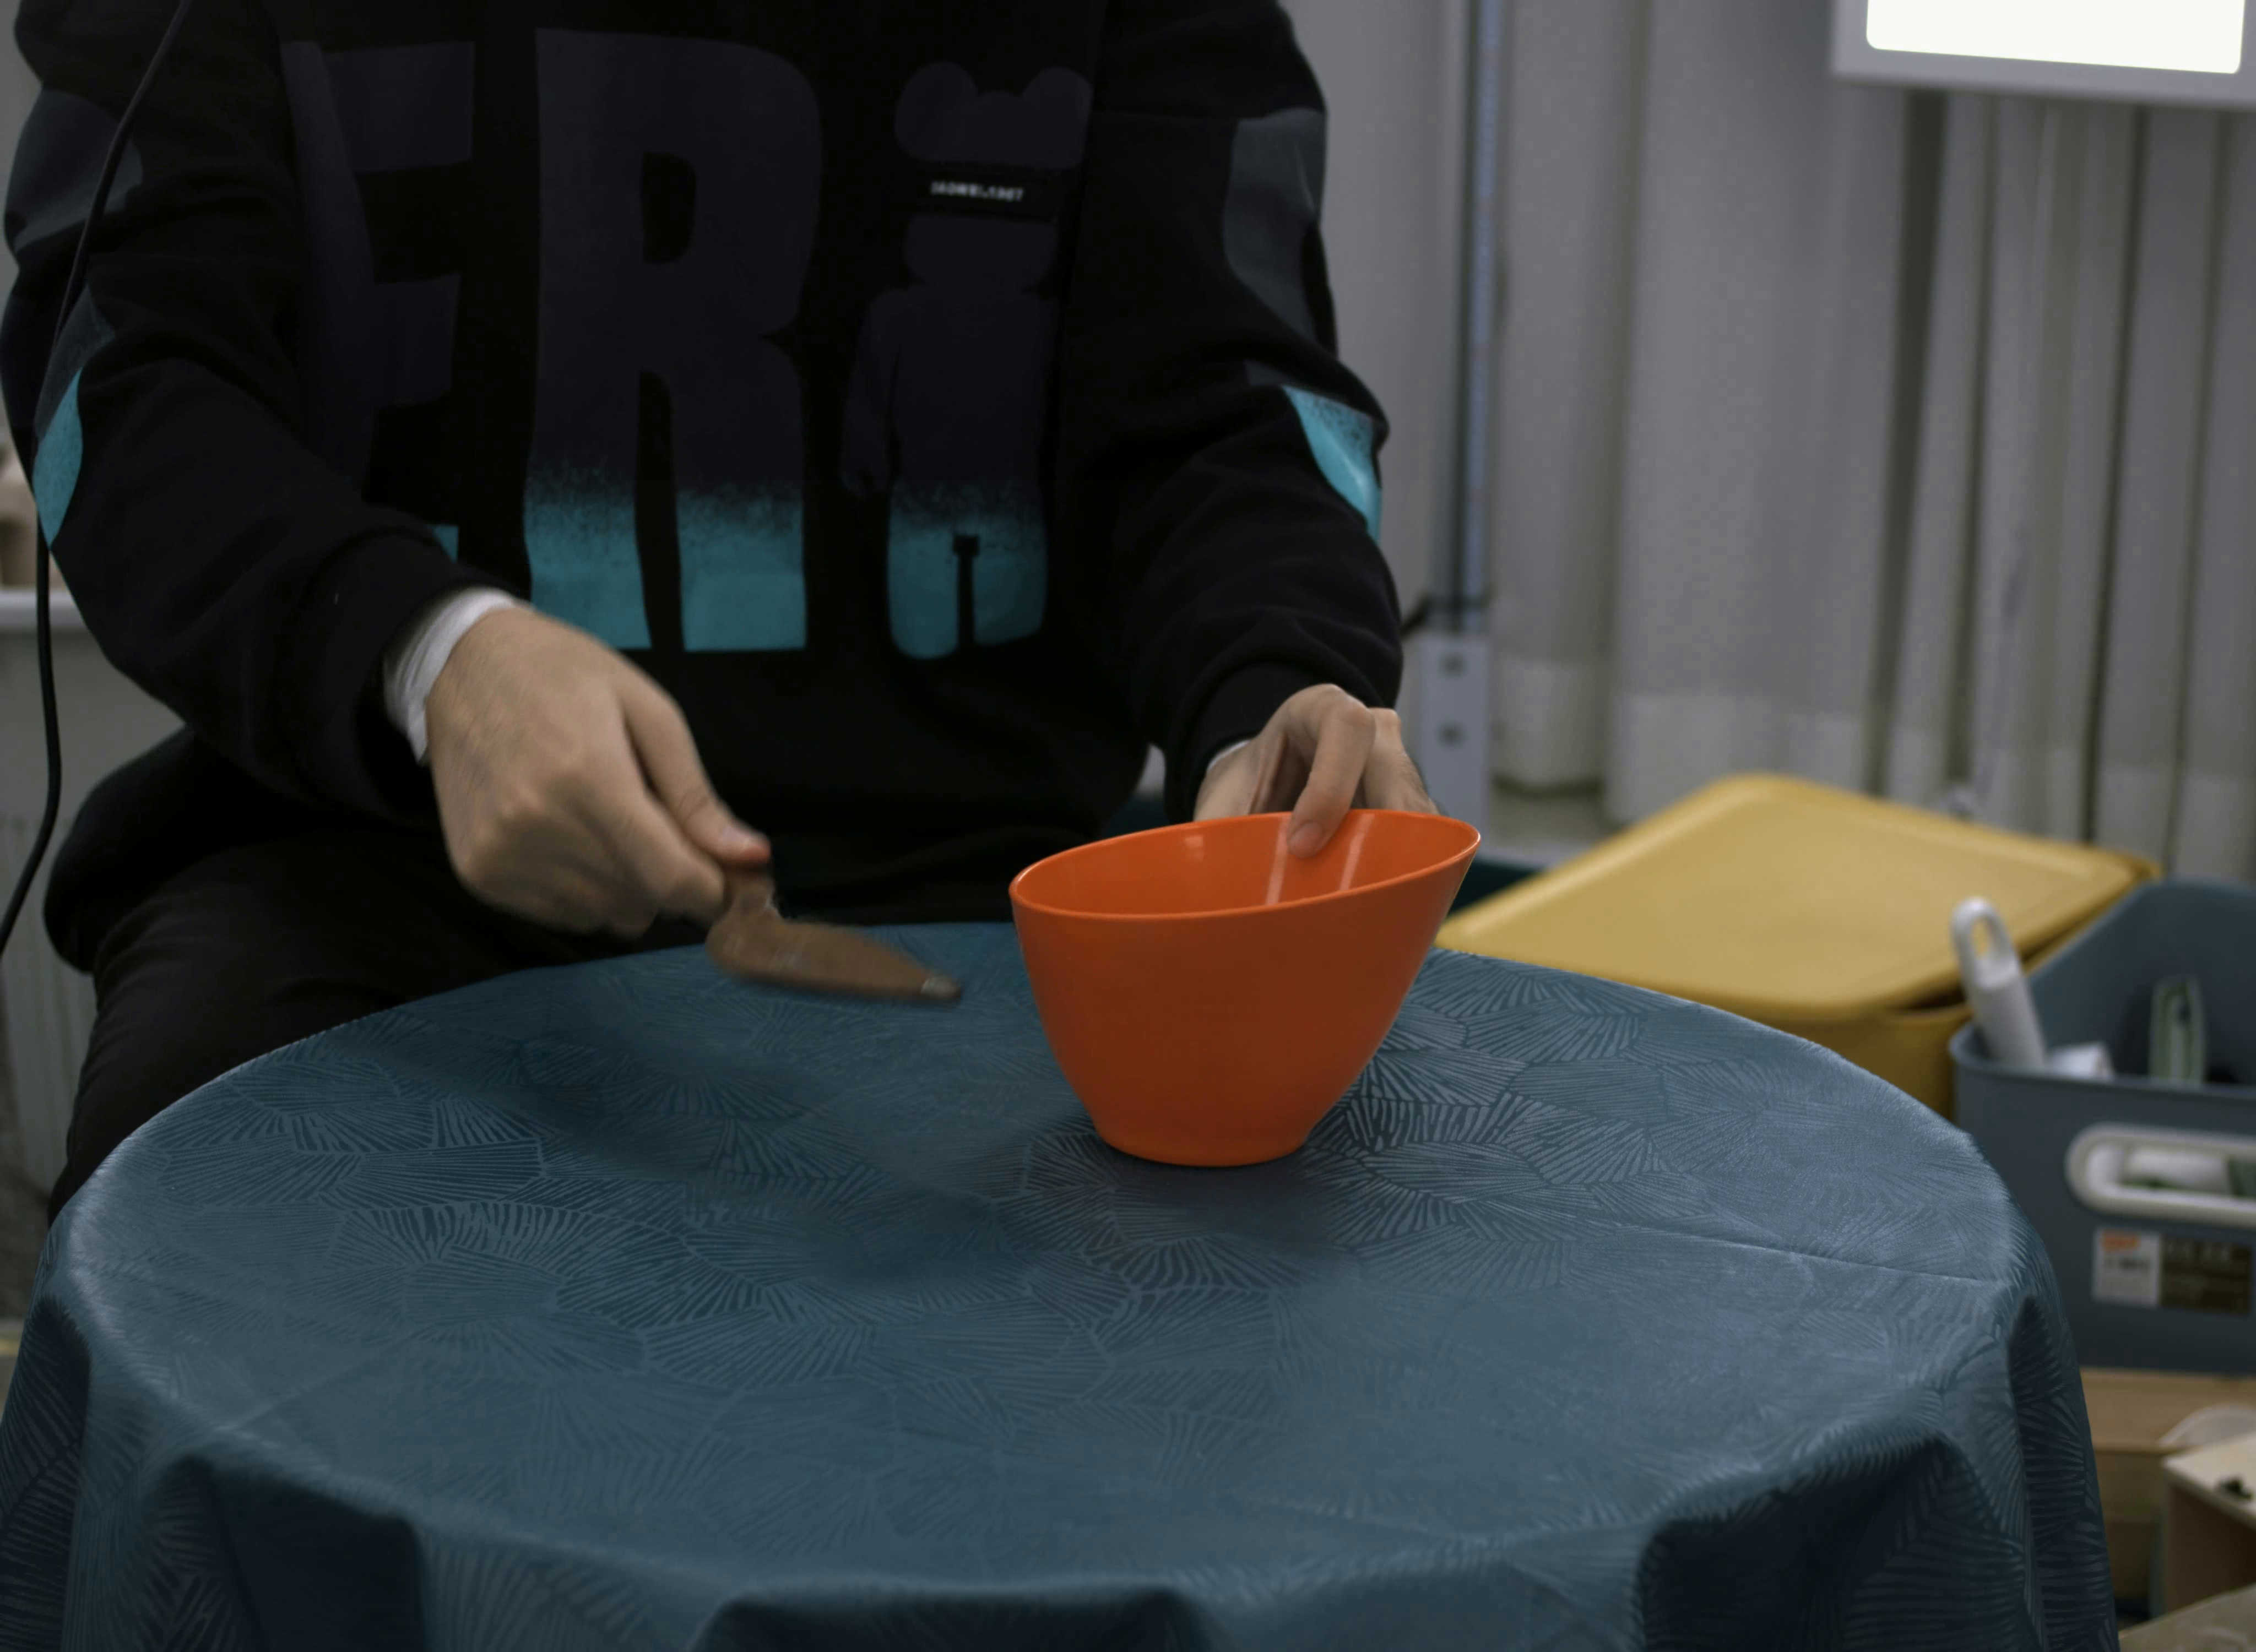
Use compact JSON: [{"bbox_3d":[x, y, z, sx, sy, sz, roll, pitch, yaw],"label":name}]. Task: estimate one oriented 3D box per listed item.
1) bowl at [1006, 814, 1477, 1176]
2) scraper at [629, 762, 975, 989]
[{"bbox_3d":[0.034,0.053,1.656,0.147,0.105,0.147,1,16,0],"label":"bowl"},{"bbox_3d":[-0.115,0.014,1.644,0.076,0.011,0.208,8,15,-25],"label":"scraper"}]
